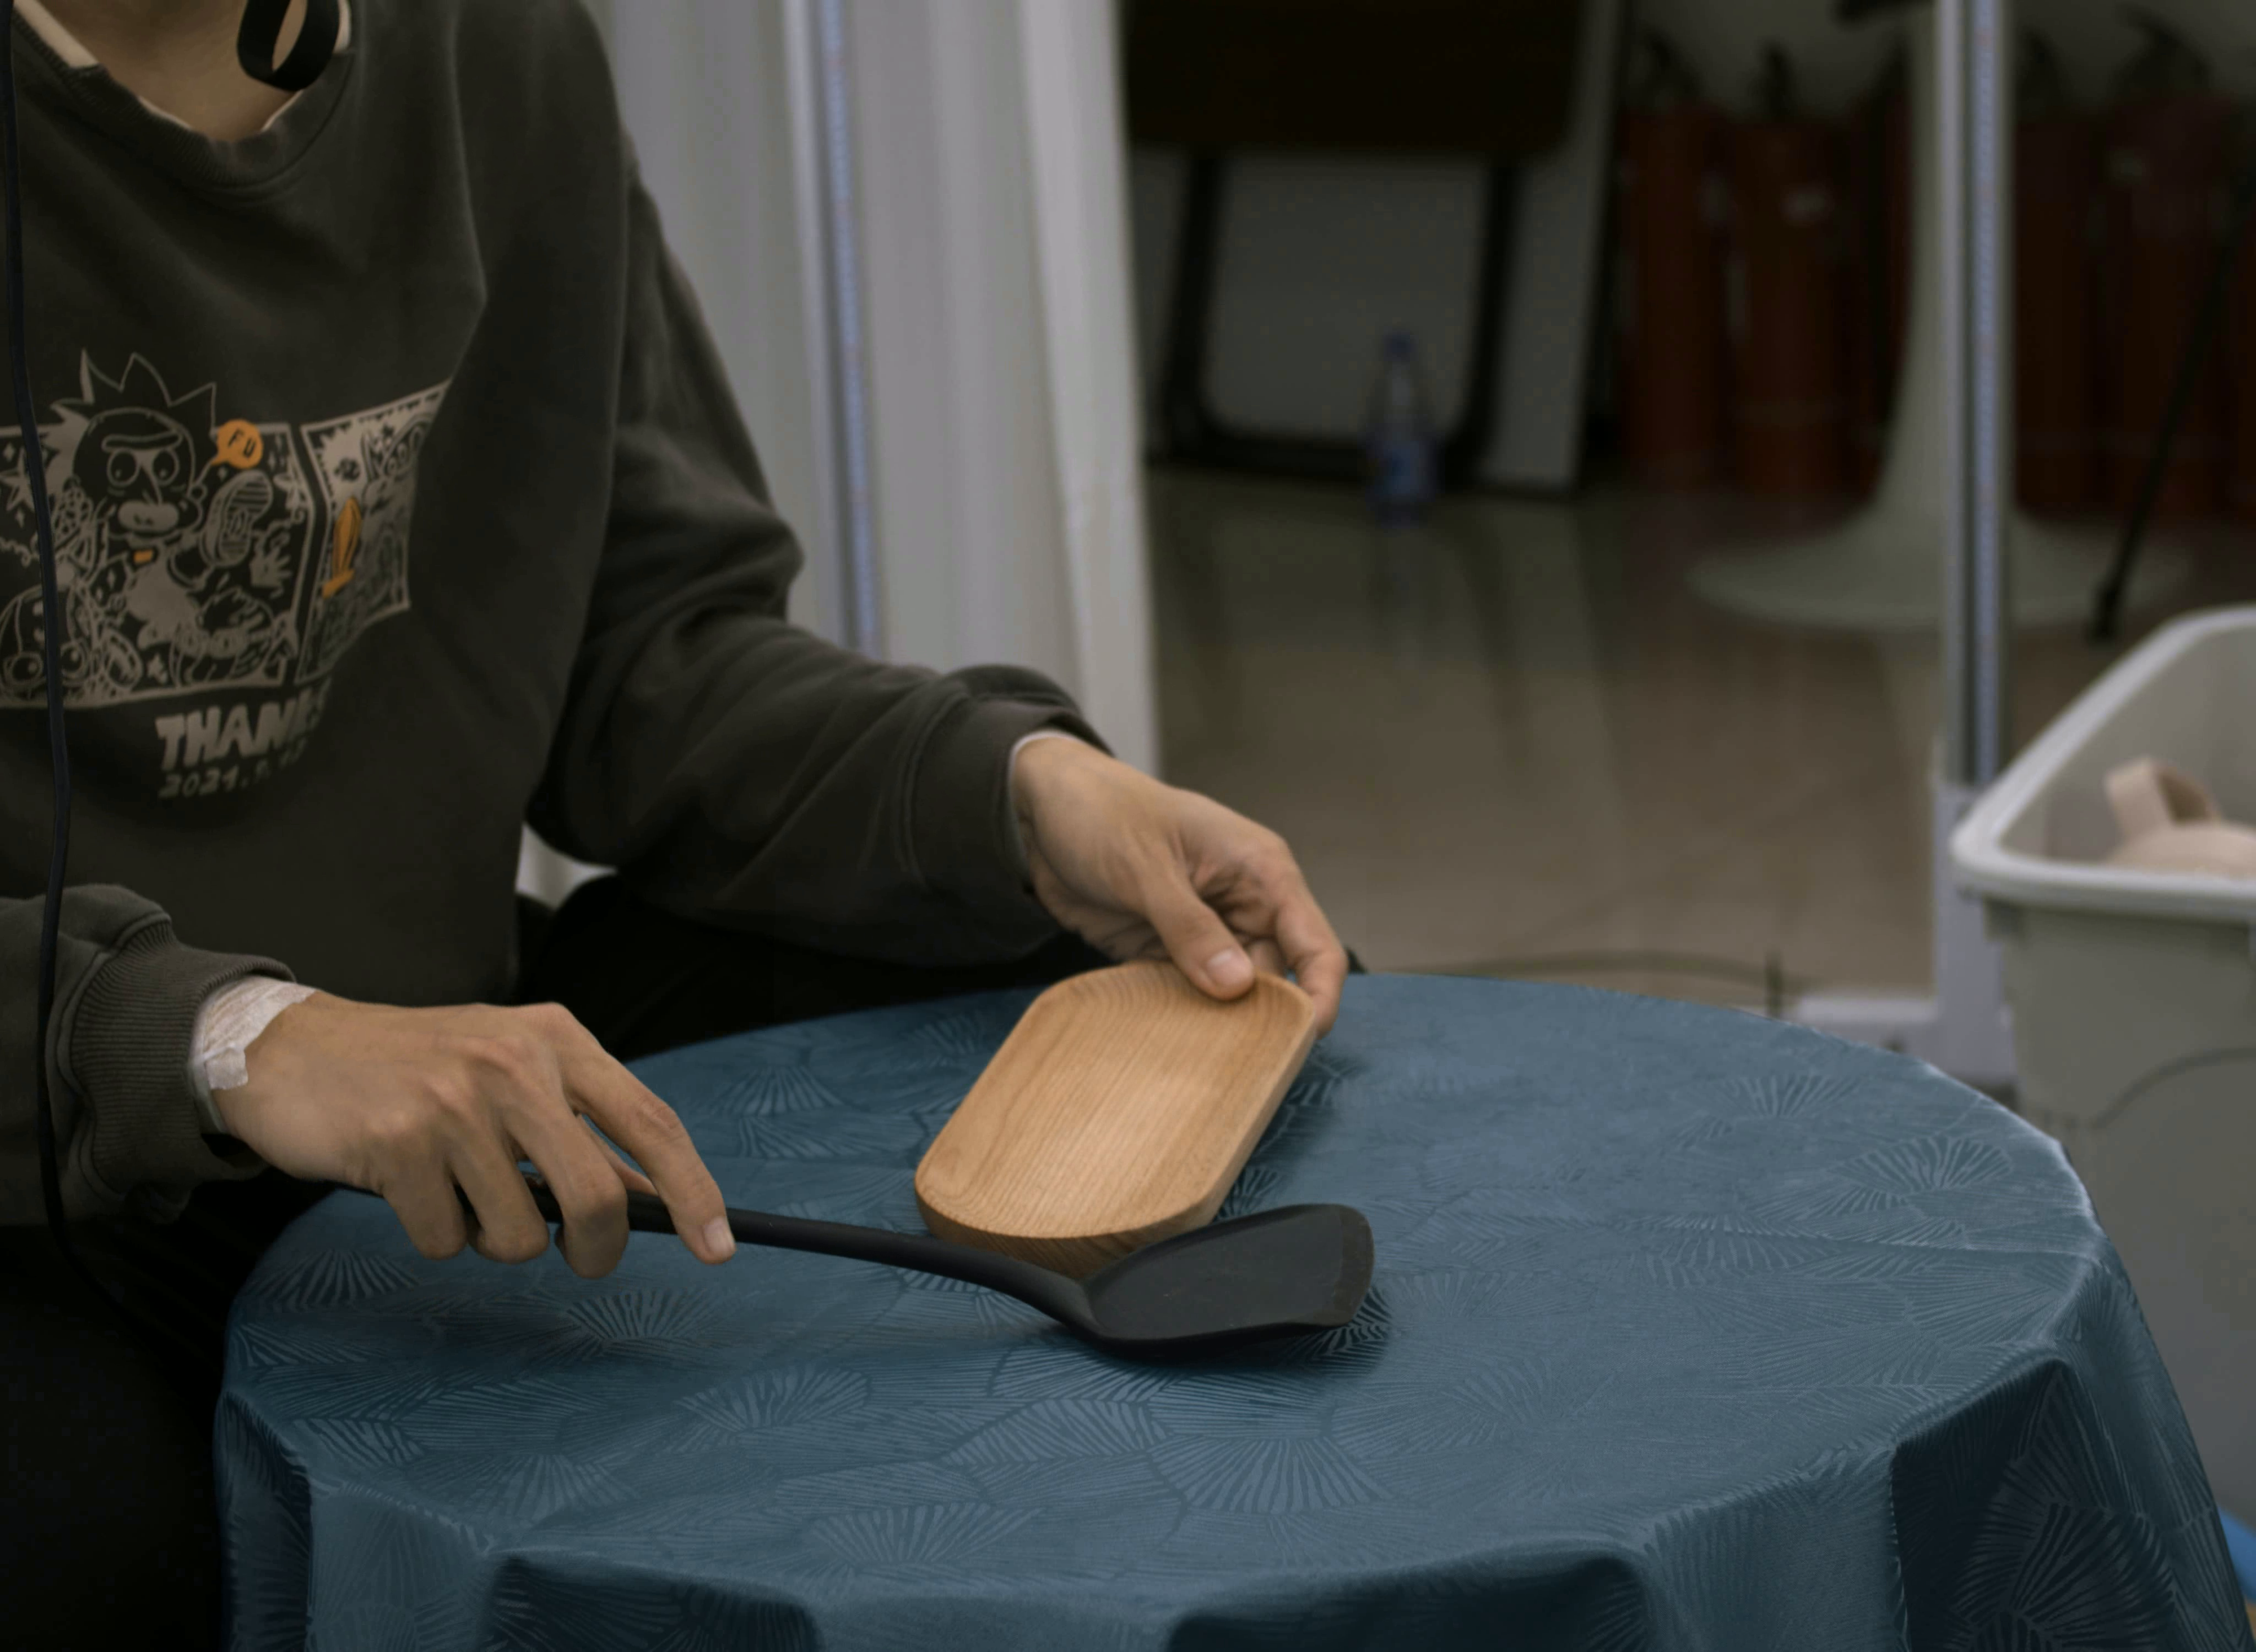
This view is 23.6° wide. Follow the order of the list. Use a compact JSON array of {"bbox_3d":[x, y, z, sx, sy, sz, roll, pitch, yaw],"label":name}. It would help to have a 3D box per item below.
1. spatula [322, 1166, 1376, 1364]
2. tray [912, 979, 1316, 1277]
[{"bbox_3d":[-0.086,0.123,1.644,0.323,0.041,0.099,10,16,4],"label":"spatula"},{"bbox_3d":[-0.002,0.099,1.793,0.101,0.020,0.230,0,21,16],"label":"tray"}]
